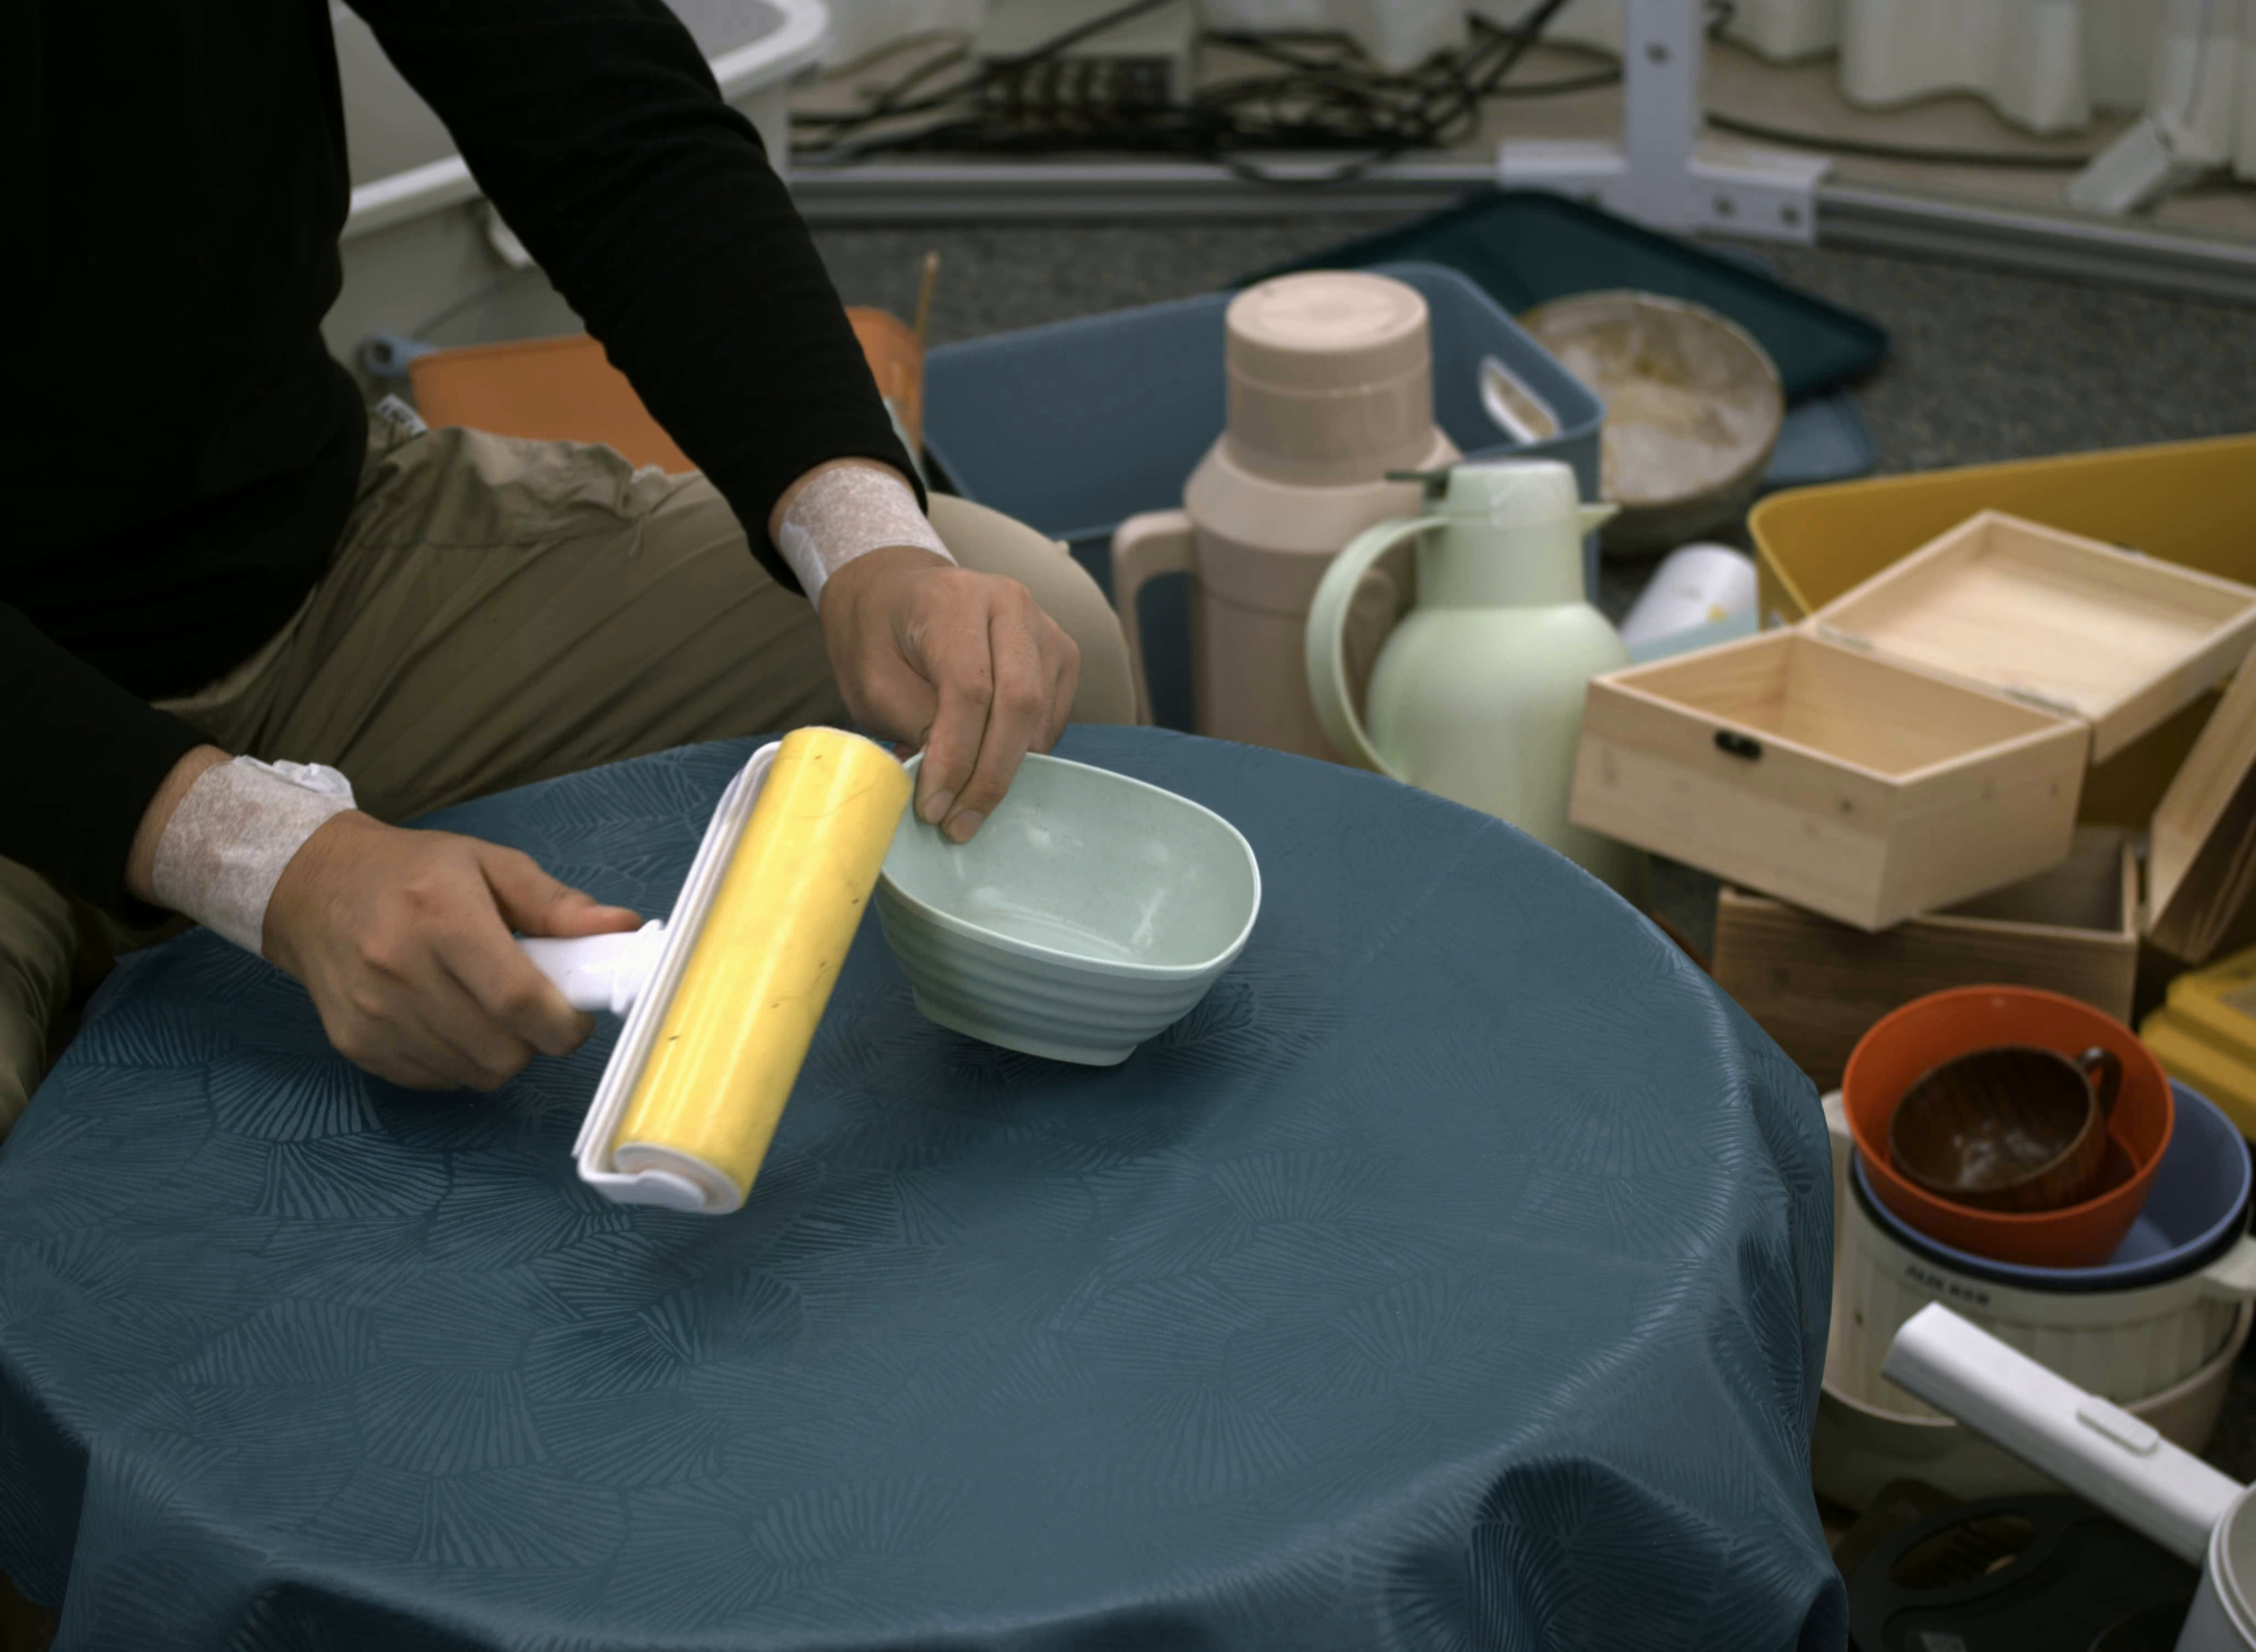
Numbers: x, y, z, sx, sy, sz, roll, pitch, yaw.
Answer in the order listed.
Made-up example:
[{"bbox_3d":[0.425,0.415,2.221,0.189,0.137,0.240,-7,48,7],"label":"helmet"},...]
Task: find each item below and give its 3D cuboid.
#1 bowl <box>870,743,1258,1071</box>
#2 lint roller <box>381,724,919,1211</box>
[{"bbox_3d":[-0.029,0.035,1.948,0.151,0.058,0.154,14,27,-7],"label":"bowl"},{"bbox_3d":[-0.178,0.044,1.875,0.190,0.051,0.177,2,56,27],"label":"lint roller"}]
